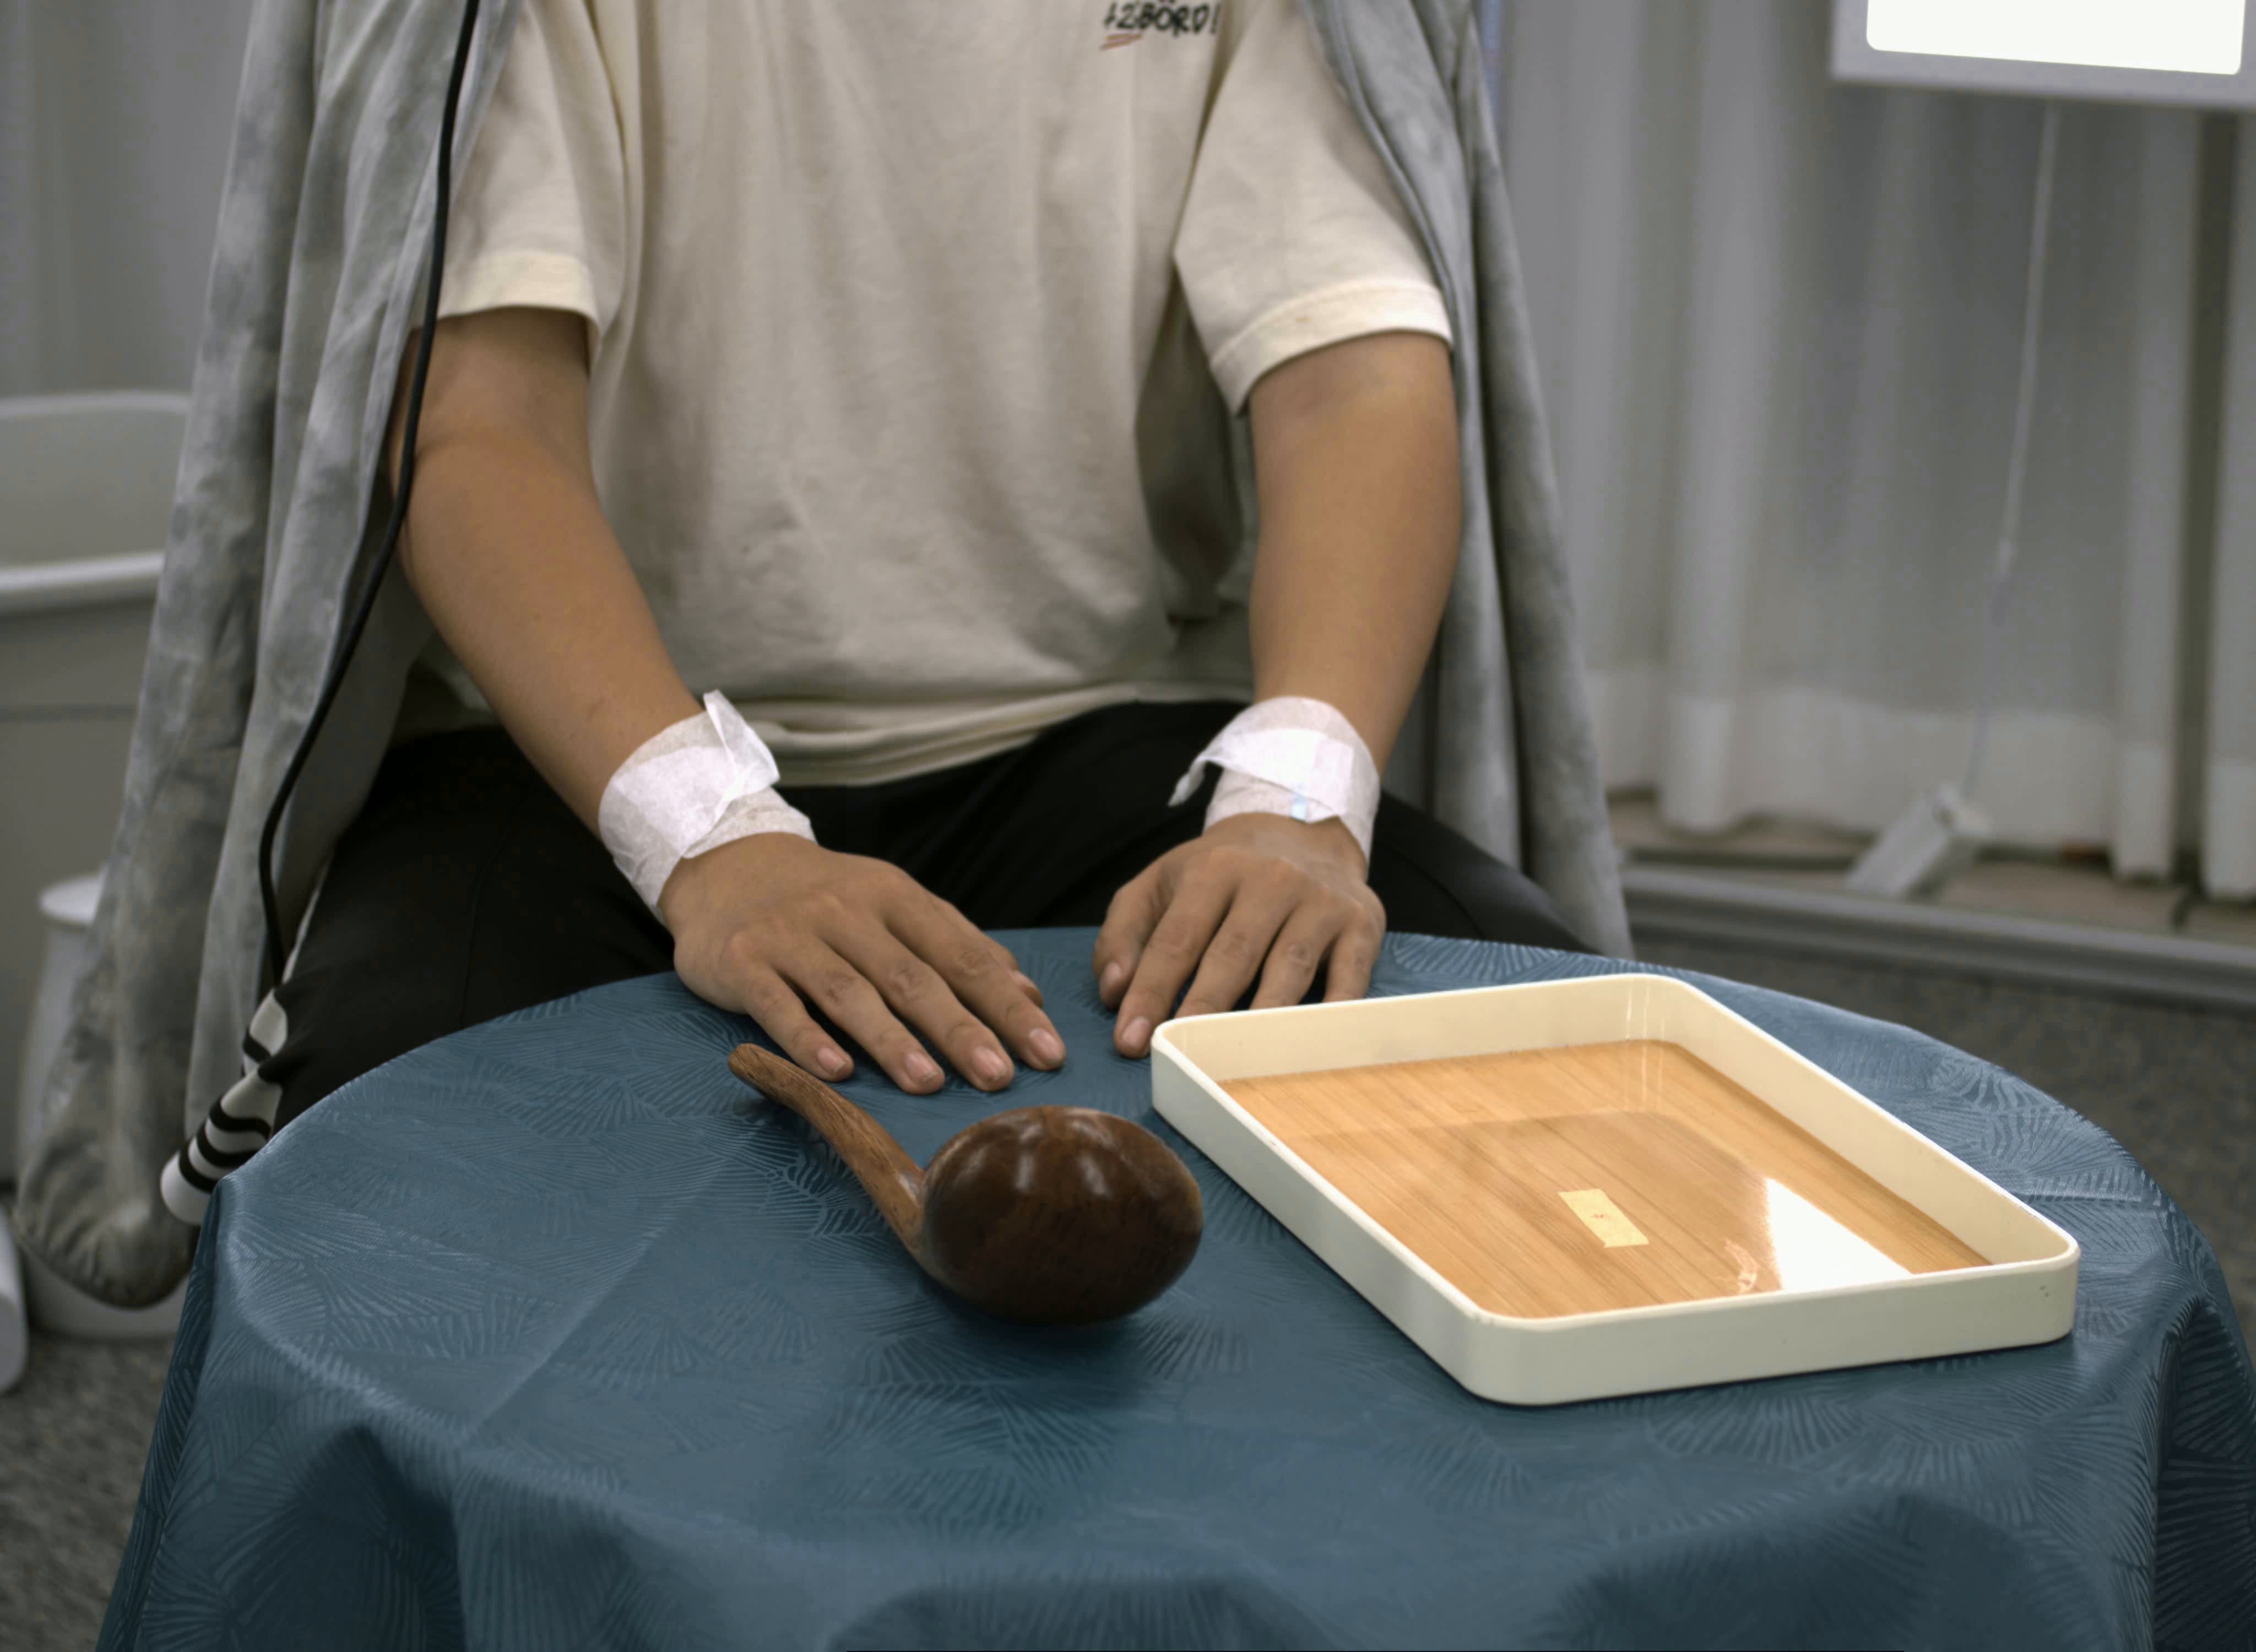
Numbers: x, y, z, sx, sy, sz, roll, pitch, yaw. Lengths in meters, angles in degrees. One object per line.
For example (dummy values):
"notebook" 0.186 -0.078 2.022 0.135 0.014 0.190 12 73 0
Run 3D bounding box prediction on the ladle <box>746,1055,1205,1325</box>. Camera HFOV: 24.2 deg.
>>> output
"ladle" -0.055 0.086 1.586 0.083 0.076 0.271 36 0 -24

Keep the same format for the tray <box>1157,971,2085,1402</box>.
"tray" 0.142 0.105 1.607 0.192 0.027 0.297 -5 16 -18
